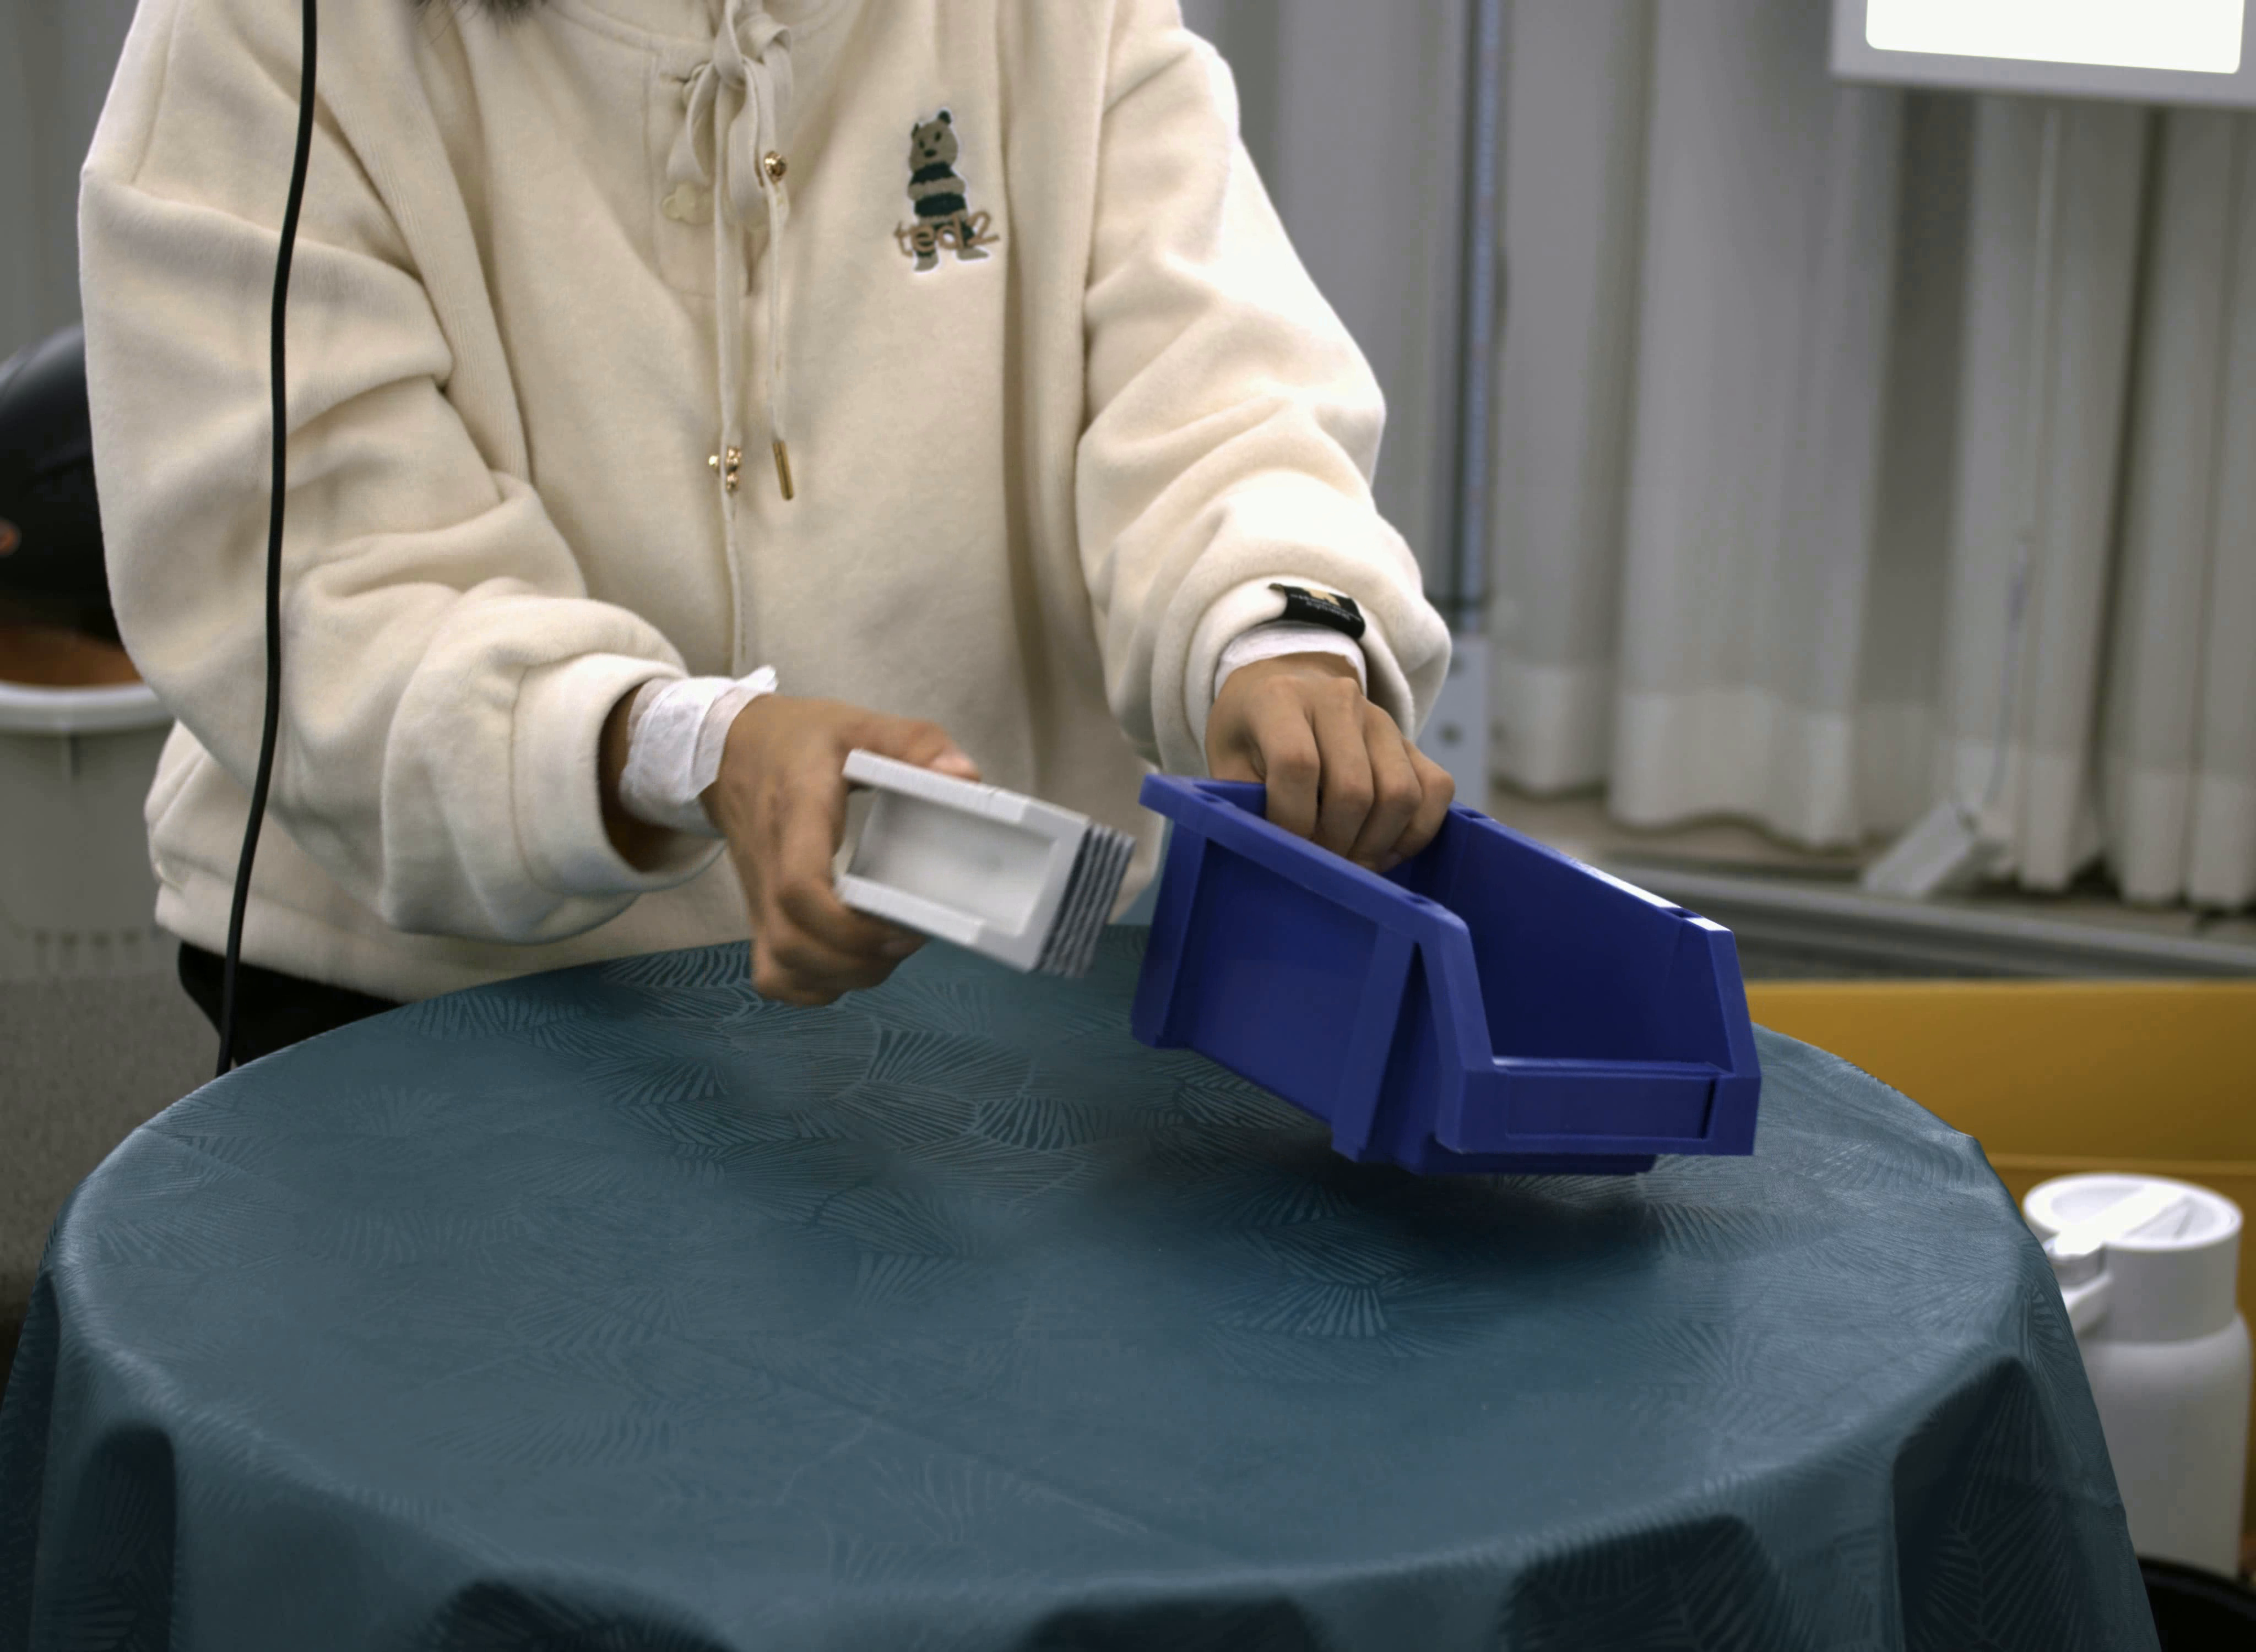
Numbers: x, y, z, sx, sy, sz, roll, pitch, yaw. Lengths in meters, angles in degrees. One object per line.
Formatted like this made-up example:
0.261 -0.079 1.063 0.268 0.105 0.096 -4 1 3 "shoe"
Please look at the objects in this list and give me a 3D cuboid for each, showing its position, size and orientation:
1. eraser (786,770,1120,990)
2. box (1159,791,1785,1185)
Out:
-0.055 0.016 1.634 0.047 0.050 0.133 22 -6 -28 "eraser"
0.104 0.053 1.611 0.125 0.082 0.177 3 13 -37 "box"
